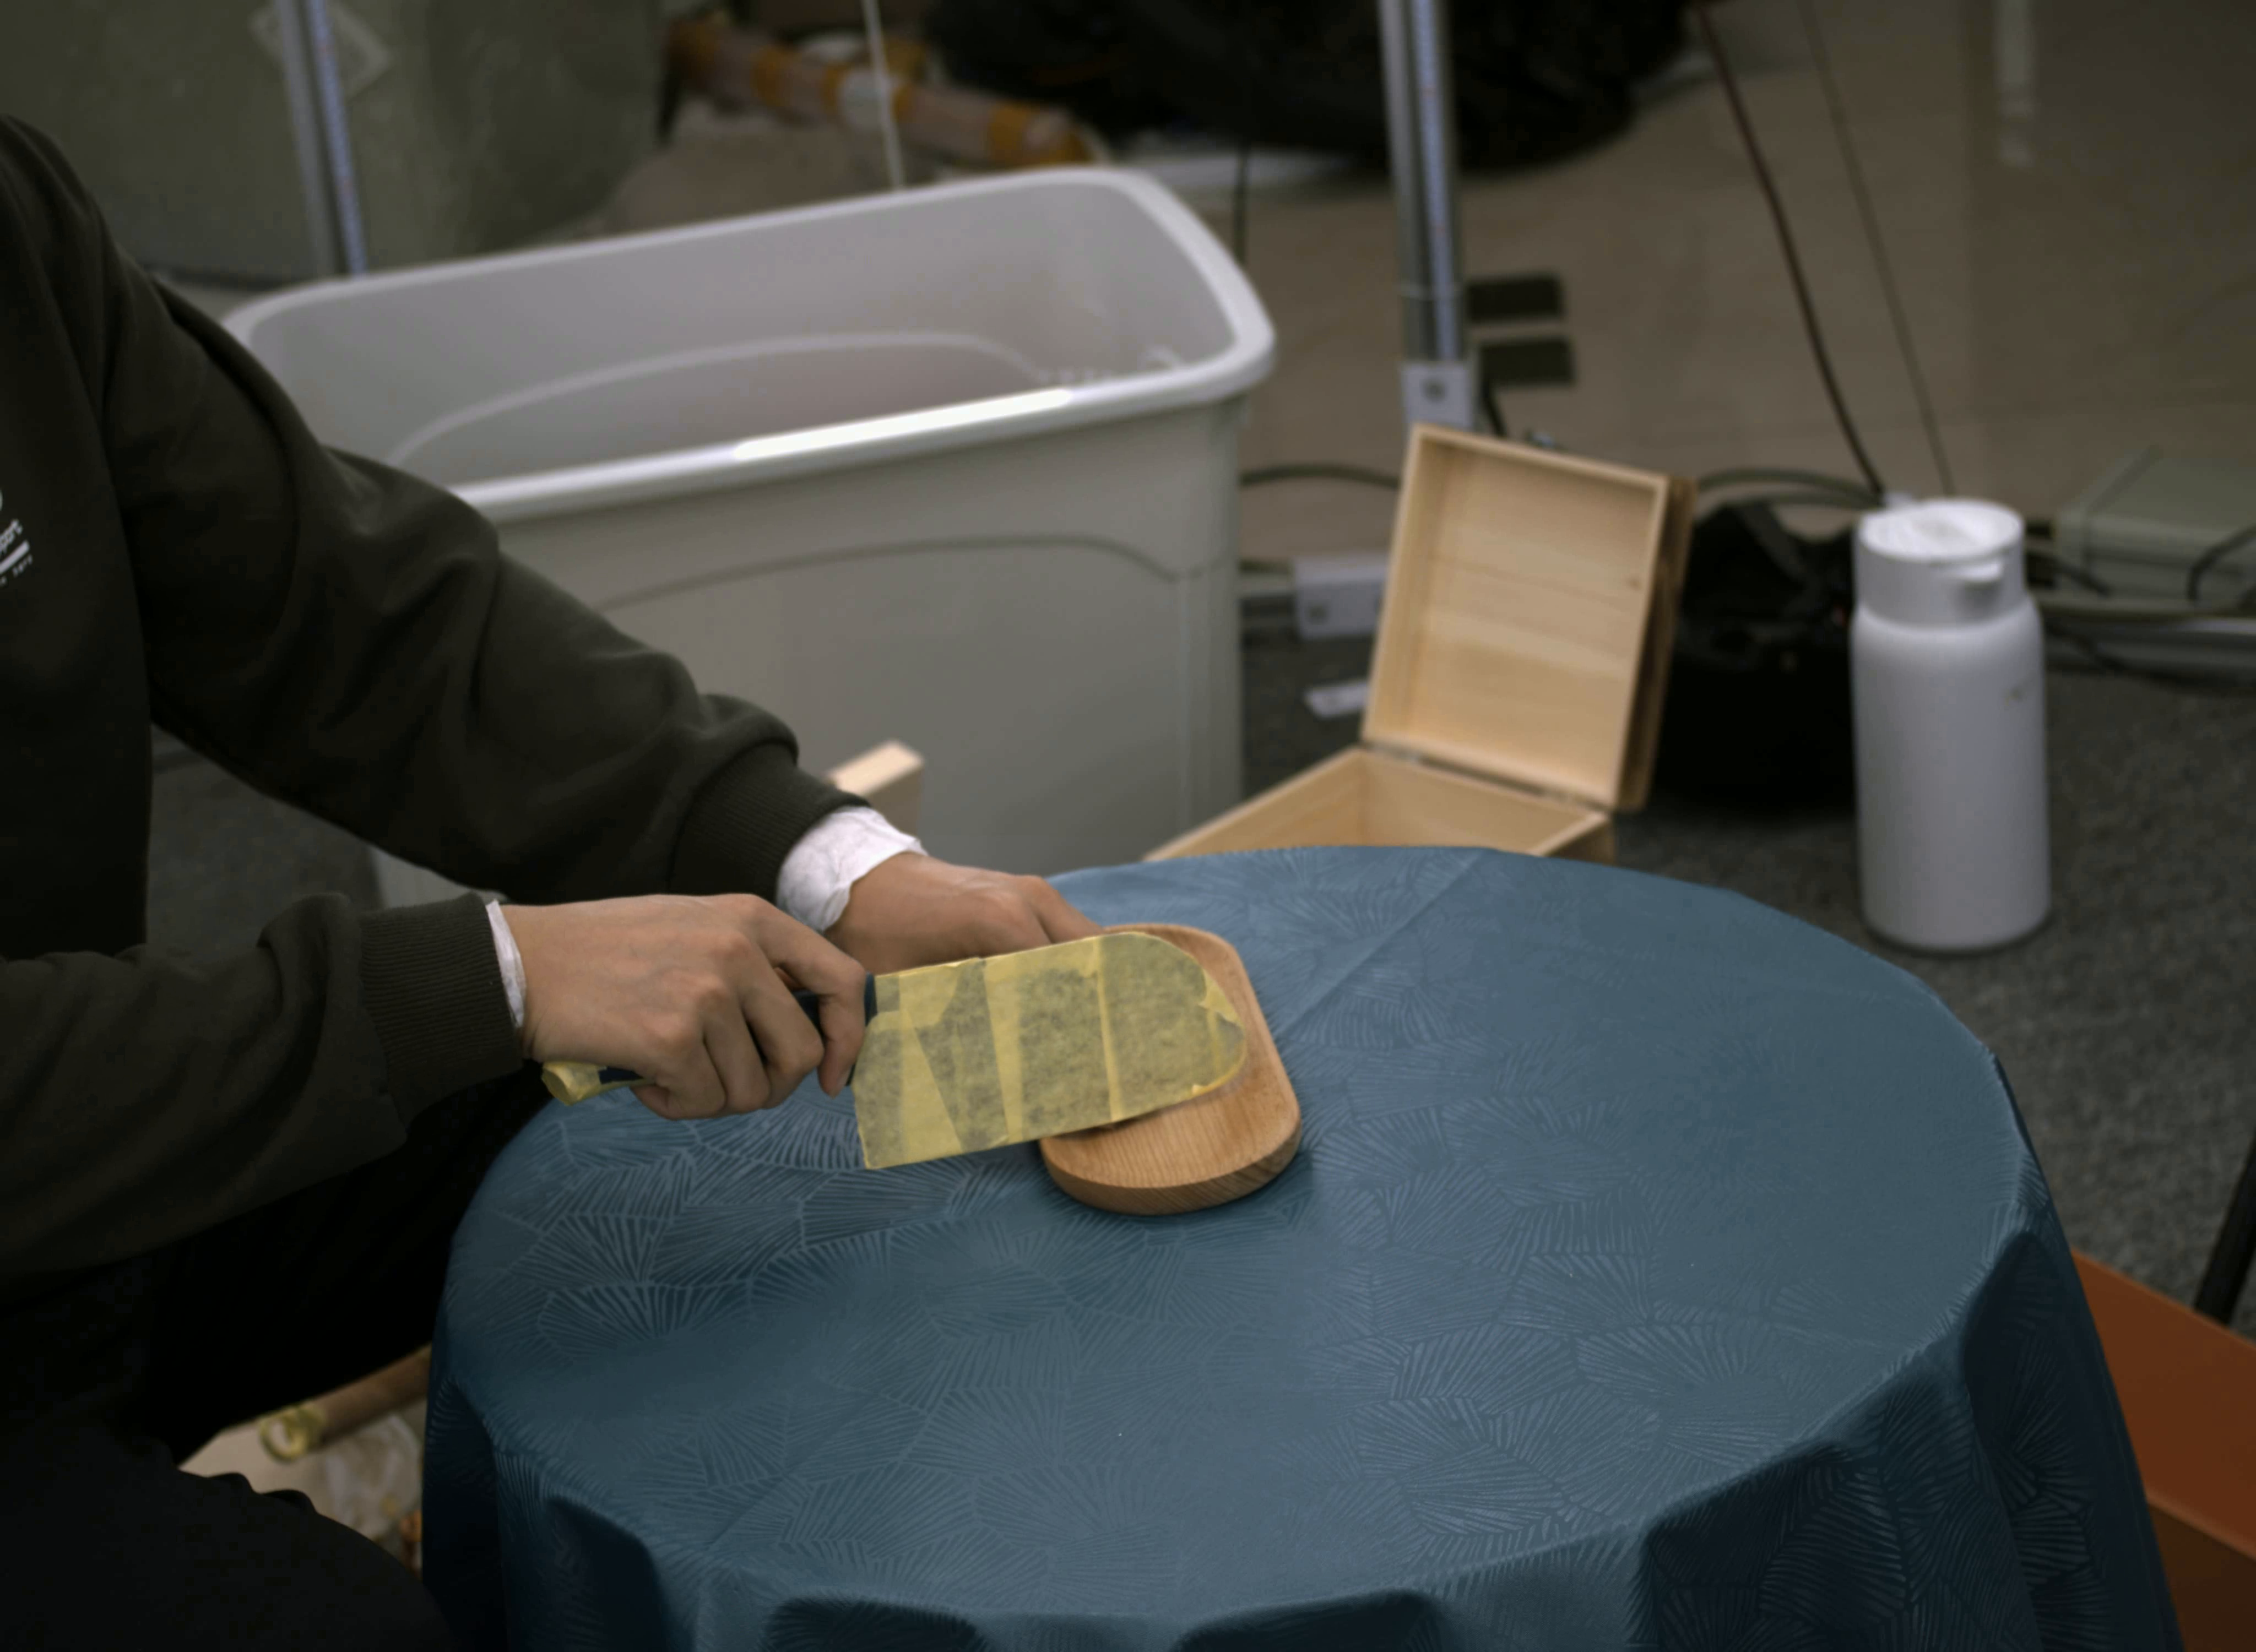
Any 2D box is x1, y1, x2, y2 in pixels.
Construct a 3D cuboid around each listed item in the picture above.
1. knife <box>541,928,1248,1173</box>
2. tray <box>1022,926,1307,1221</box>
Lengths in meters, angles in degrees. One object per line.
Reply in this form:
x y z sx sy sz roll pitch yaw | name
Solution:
-0.083 0.089 2.141 0.289 0.081 0.027 -7 3 -24 | knife
0.008 0.095 2.225 0.101 0.020 0.228 -11 27 -4 | tray
